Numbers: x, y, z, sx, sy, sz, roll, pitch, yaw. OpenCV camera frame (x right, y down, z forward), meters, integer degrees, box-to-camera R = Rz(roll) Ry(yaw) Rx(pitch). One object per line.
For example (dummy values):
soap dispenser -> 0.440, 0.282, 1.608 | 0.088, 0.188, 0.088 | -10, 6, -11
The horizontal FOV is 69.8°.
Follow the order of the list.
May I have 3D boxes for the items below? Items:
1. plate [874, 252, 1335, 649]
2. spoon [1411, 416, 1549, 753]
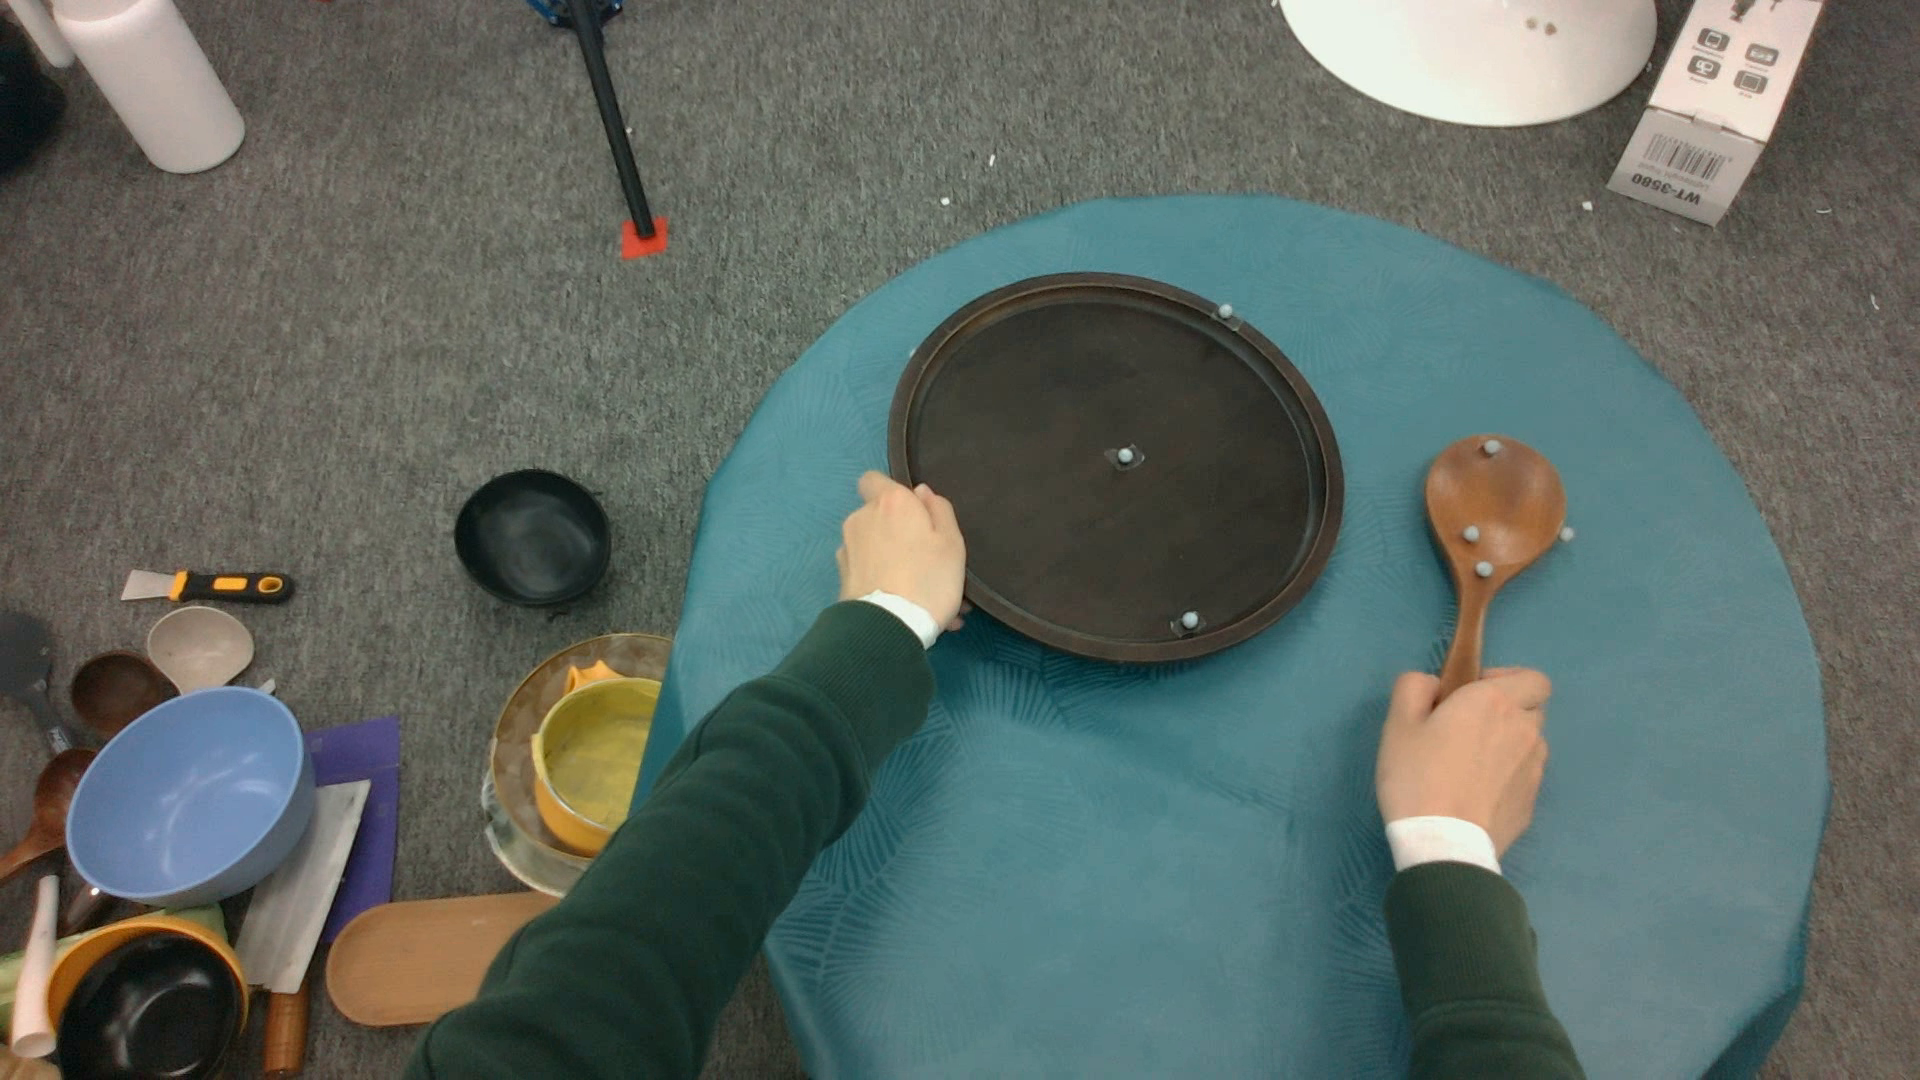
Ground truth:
plate -> 0.079, -0.054, 0.753 | 0.255, 0.029, 0.256 | 4, 59, -6
spoon -> 0.265, 0.018, 0.723 | 0.075, 0.017, 0.217 | 16, 55, 9
